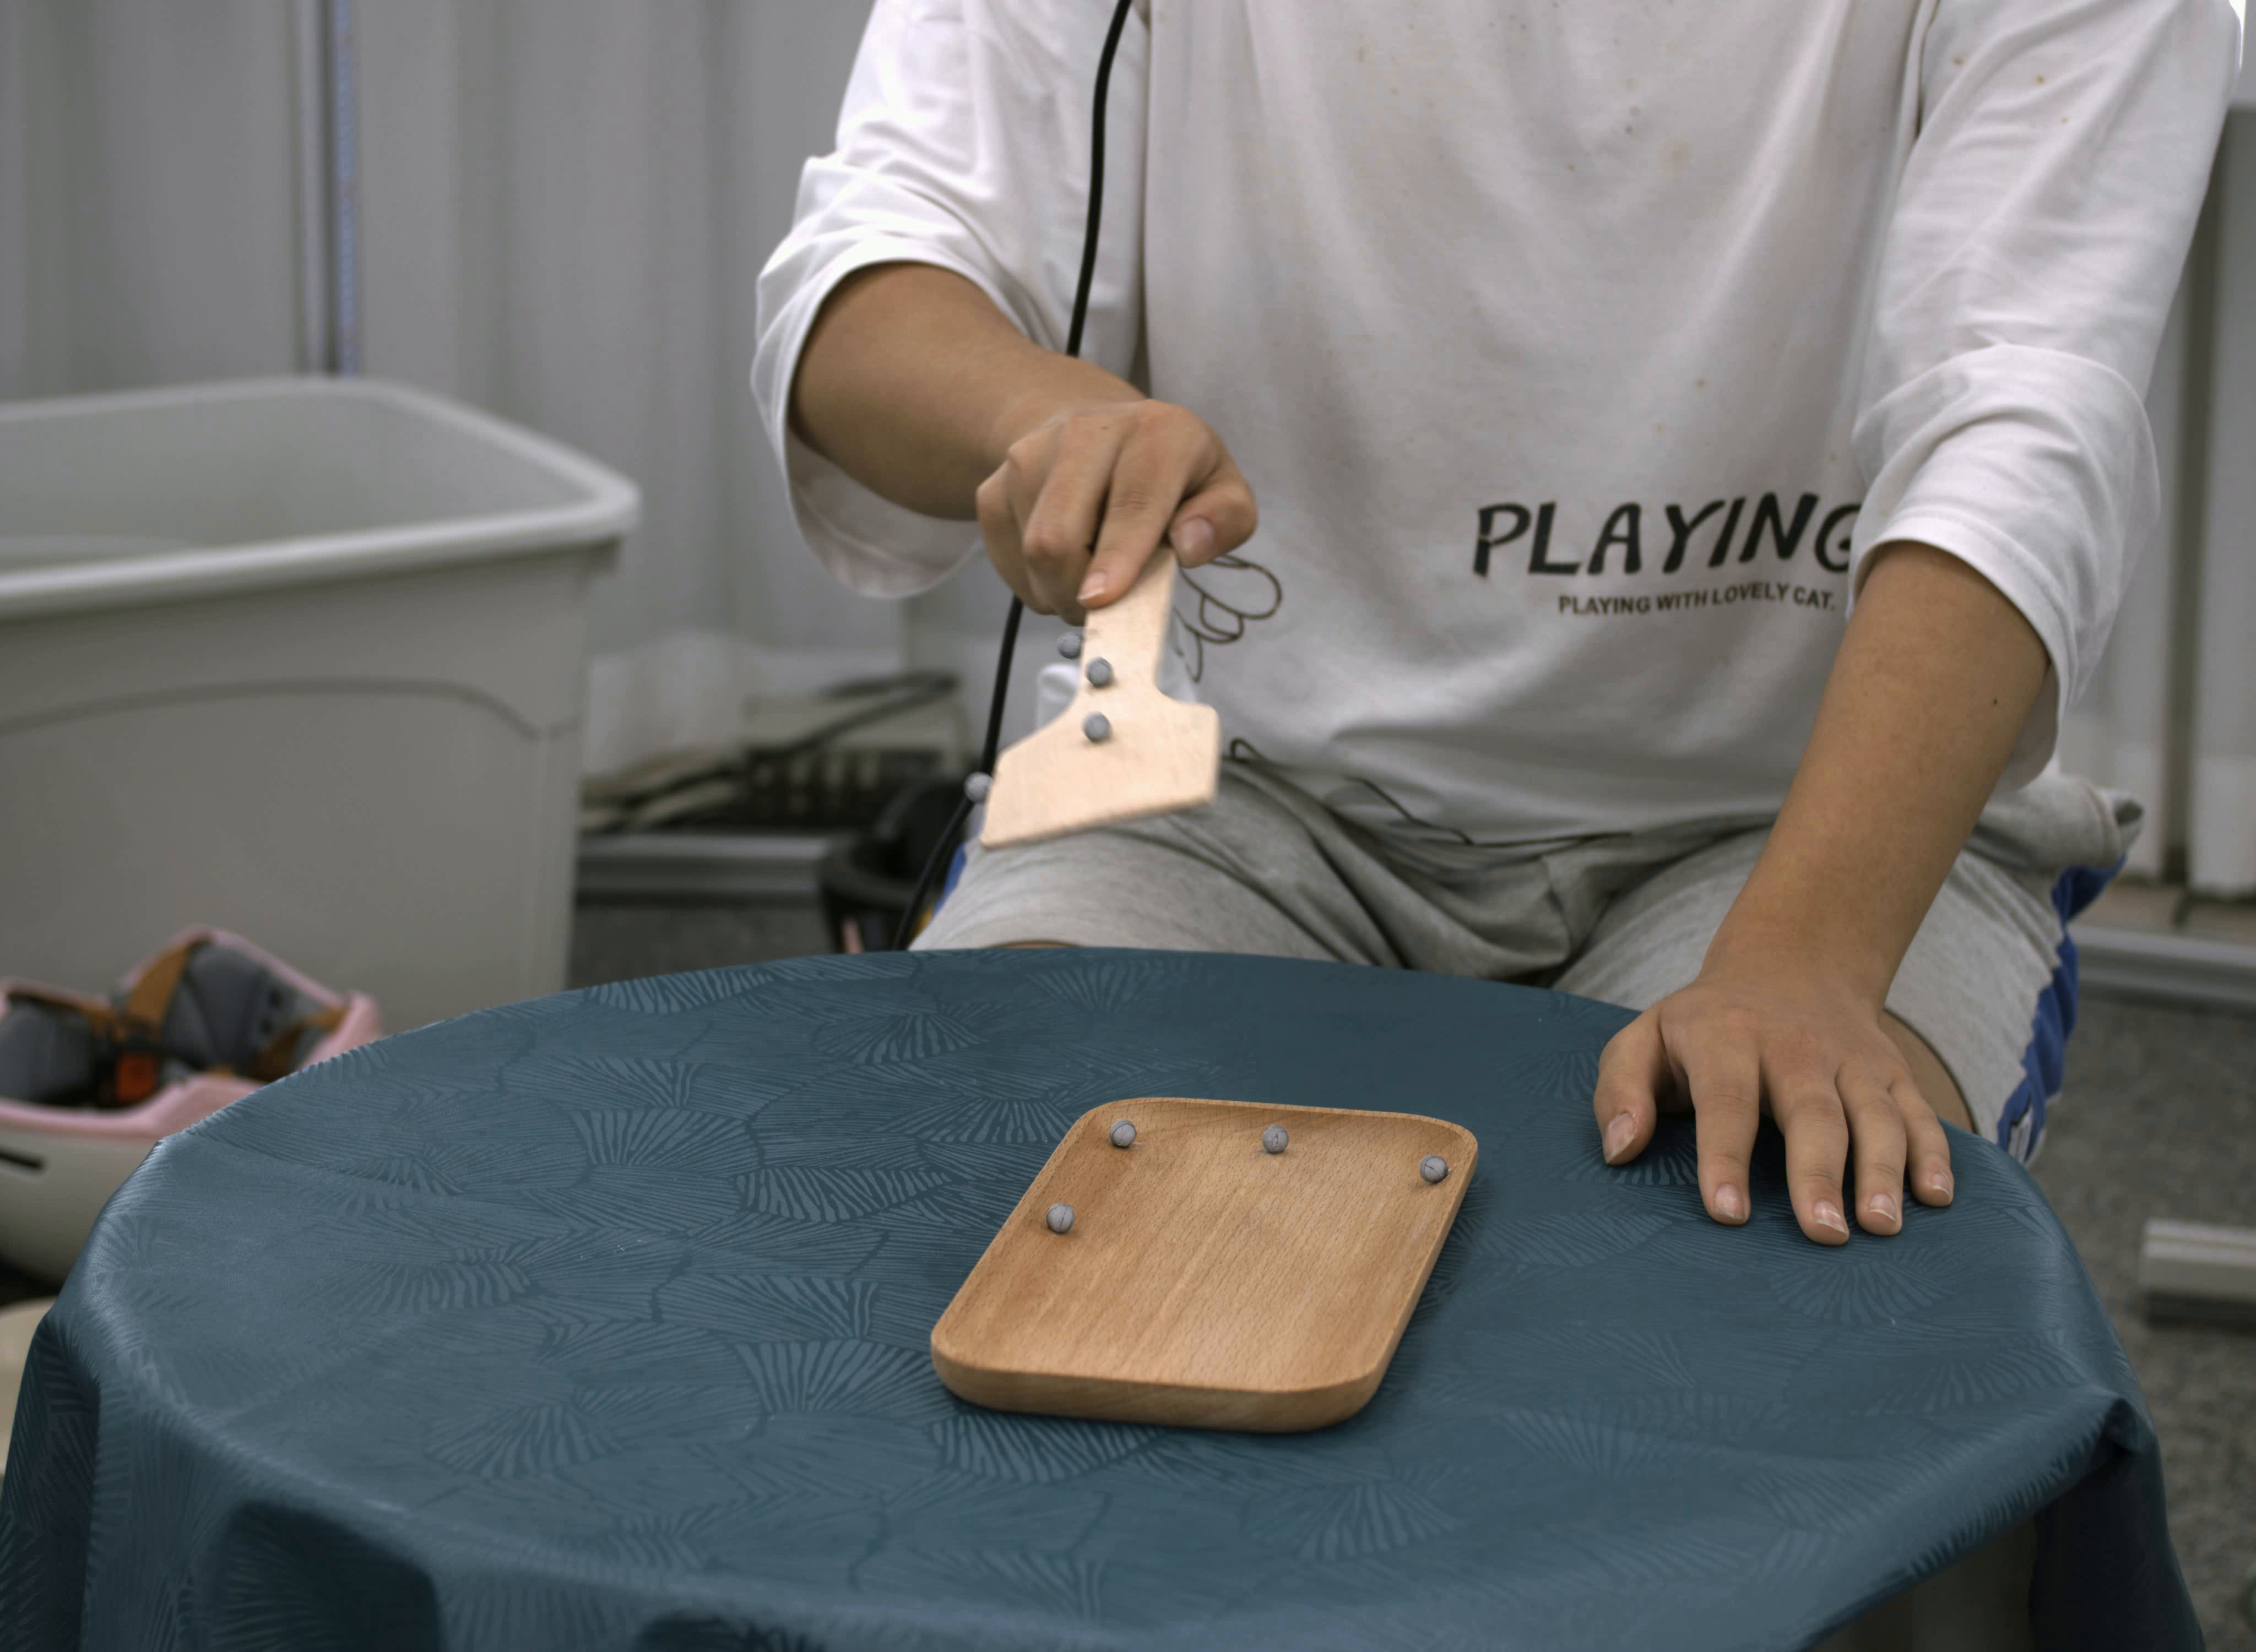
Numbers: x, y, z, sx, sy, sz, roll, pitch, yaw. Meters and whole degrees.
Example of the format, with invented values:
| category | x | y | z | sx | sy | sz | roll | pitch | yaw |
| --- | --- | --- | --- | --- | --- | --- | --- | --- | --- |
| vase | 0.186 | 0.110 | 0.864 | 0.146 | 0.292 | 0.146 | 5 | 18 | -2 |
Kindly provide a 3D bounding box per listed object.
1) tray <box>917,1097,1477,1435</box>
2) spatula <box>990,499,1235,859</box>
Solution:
| category | x | y | z | sx | sy | sz | roll | pitch | yaw |
| --- | --- | --- | --- | --- | --- | --- | --- | --- | --- |
| tray | 0.025 | 0.126 | 1.551 | 0.129 | 0.023 | 0.250 | 2 | 16 | 13 |
| spatula | 0.000 | -0.050 | 1.642 | 0.072 | 0.011 | 0.291 | -11 | 22 | 7 |
